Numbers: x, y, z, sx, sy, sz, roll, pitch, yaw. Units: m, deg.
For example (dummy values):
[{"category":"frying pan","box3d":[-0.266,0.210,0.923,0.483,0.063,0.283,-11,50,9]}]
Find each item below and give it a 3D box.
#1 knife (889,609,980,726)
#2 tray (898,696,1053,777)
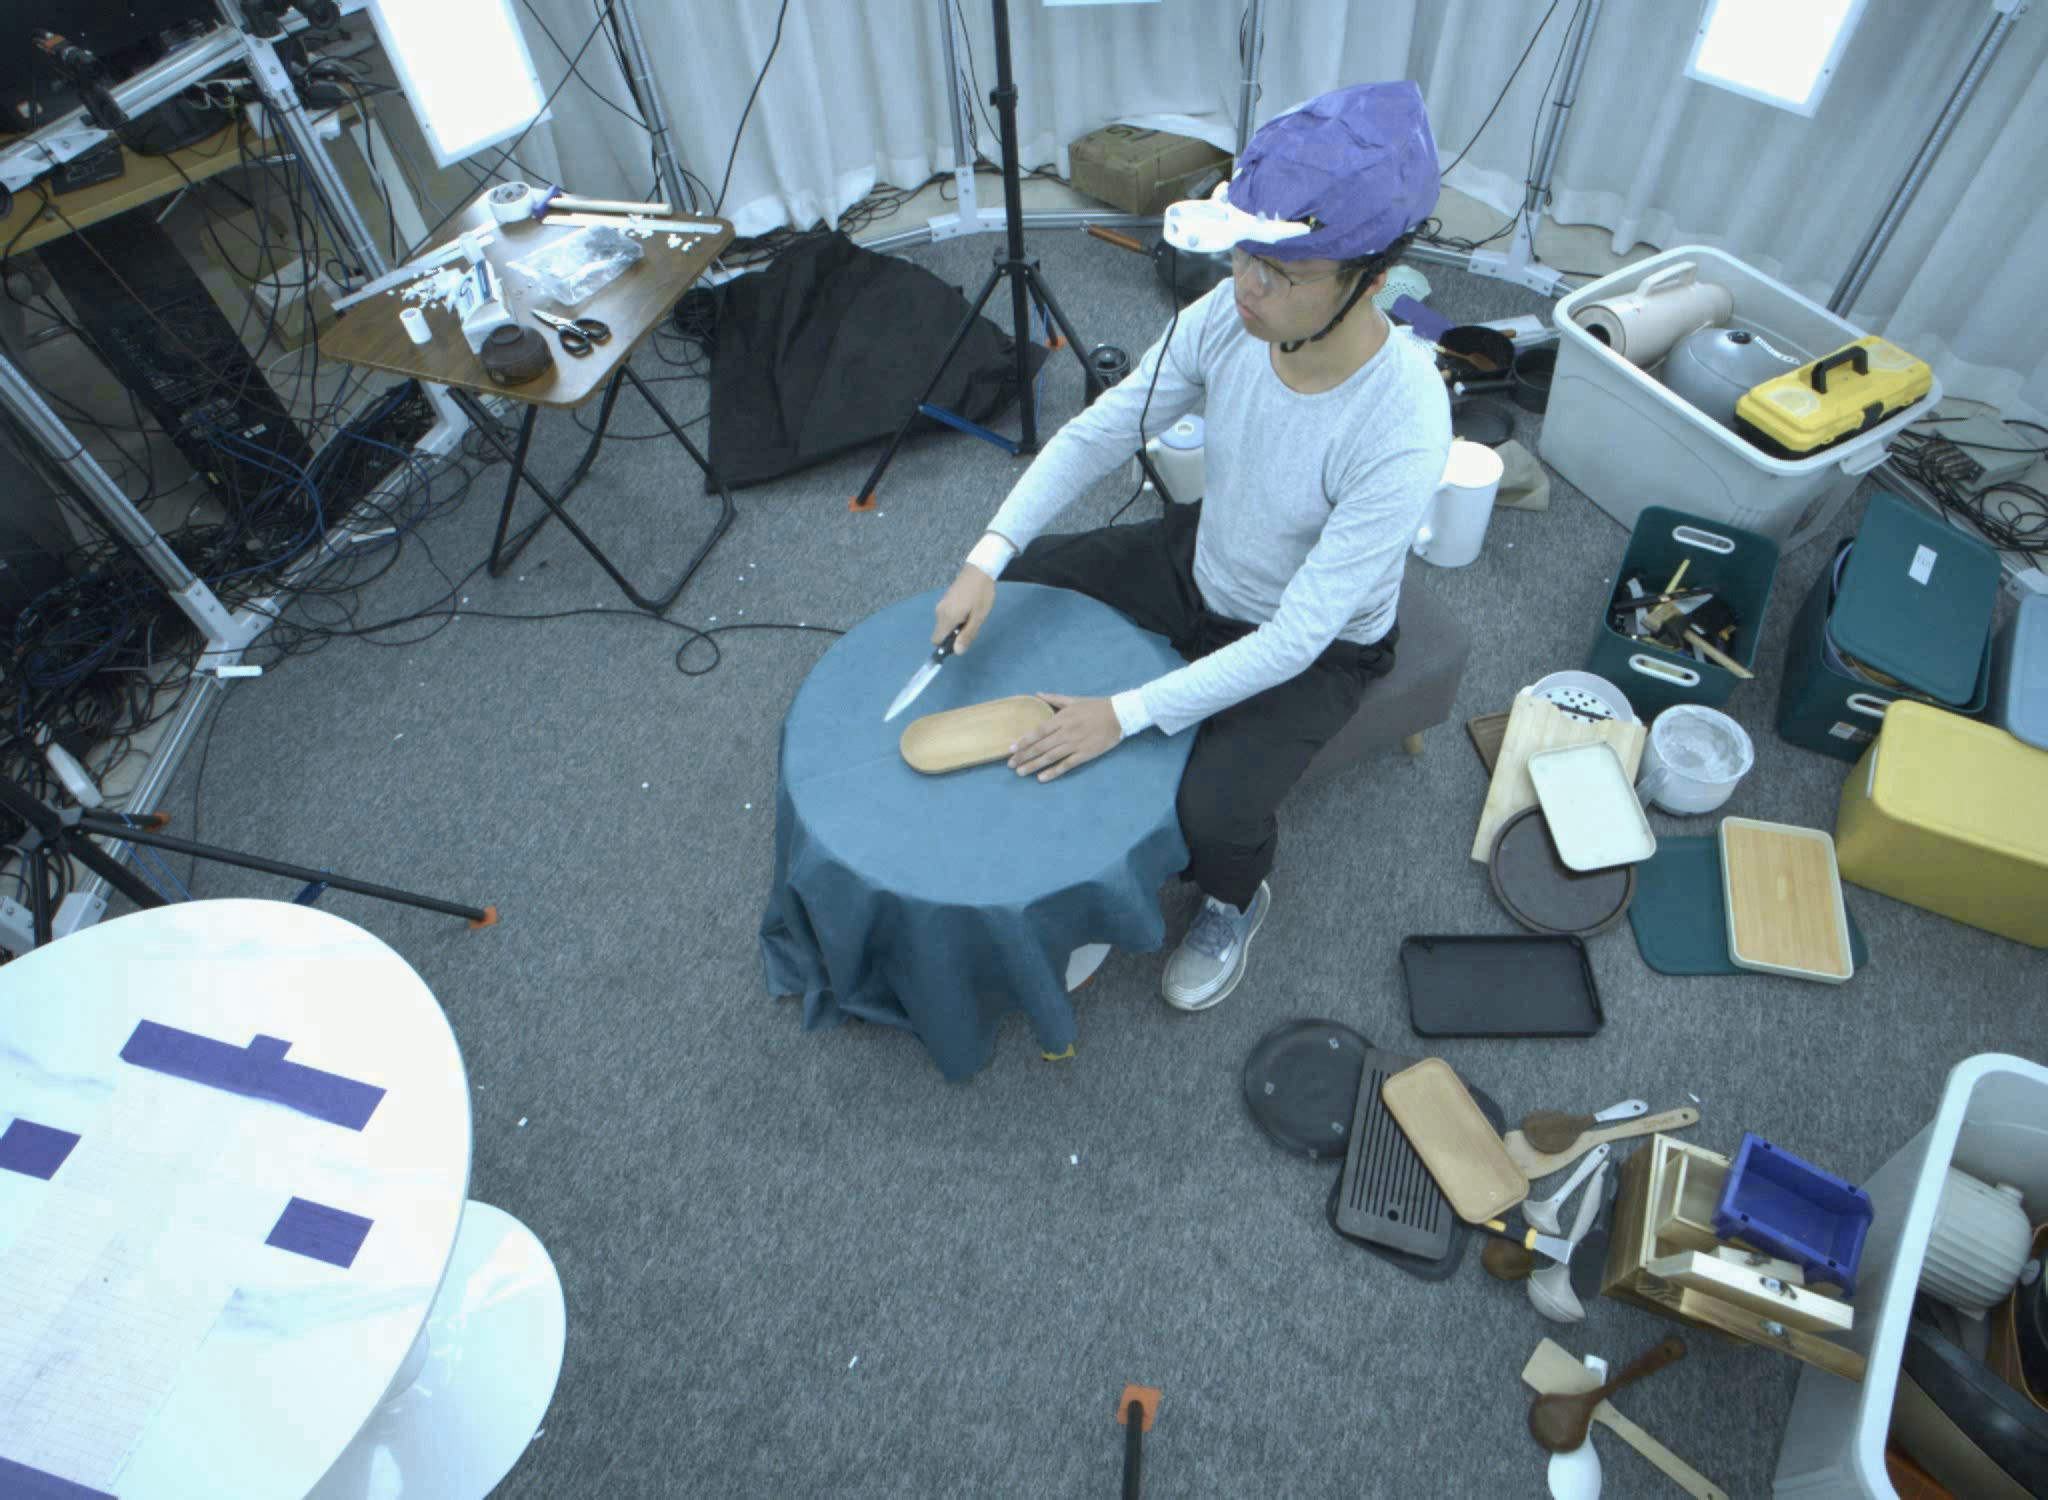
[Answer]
[{"category":"knife","box3d":[-0.134,-0.124,1.796,0.024,0.016,0.238,35,63,-2]},{"category":"tray","box3d":[-0.070,-0.020,1.802,0.232,0.020,0.100,-16,54,-8]}]
